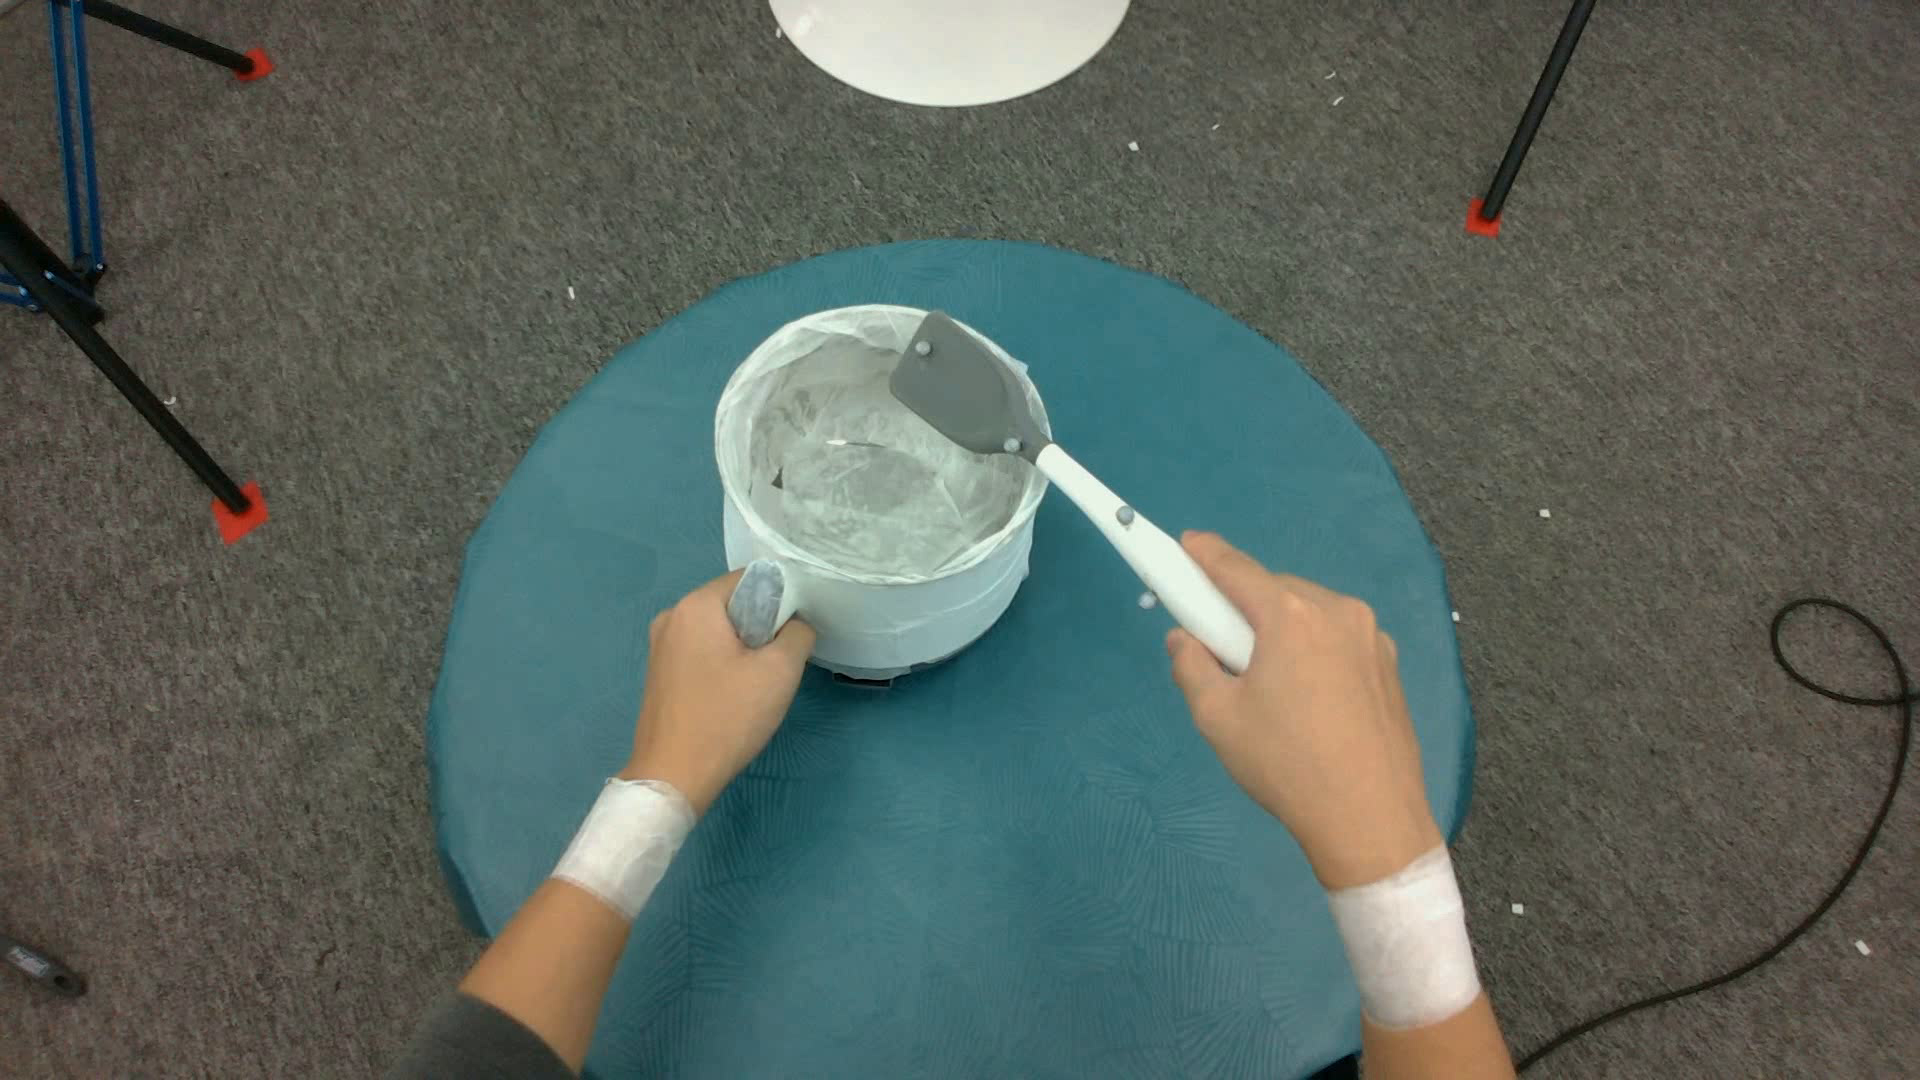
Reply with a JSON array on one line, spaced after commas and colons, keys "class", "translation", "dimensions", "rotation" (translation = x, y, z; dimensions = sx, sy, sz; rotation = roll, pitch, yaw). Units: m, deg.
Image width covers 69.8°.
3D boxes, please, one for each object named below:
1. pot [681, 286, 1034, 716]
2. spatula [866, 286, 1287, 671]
[{"class": "pot", "translation": [-0.069, -0.012, 0.757], "dimensions": [0.179, 0.136, 0.235], "rotation": [30, 61, 11]}, {"class": "spatula", "translation": [0.045, -0.036, 0.664], "dimensions": [0.032, 0.058, 0.288], "rotation": [8, 28, -46]}]
